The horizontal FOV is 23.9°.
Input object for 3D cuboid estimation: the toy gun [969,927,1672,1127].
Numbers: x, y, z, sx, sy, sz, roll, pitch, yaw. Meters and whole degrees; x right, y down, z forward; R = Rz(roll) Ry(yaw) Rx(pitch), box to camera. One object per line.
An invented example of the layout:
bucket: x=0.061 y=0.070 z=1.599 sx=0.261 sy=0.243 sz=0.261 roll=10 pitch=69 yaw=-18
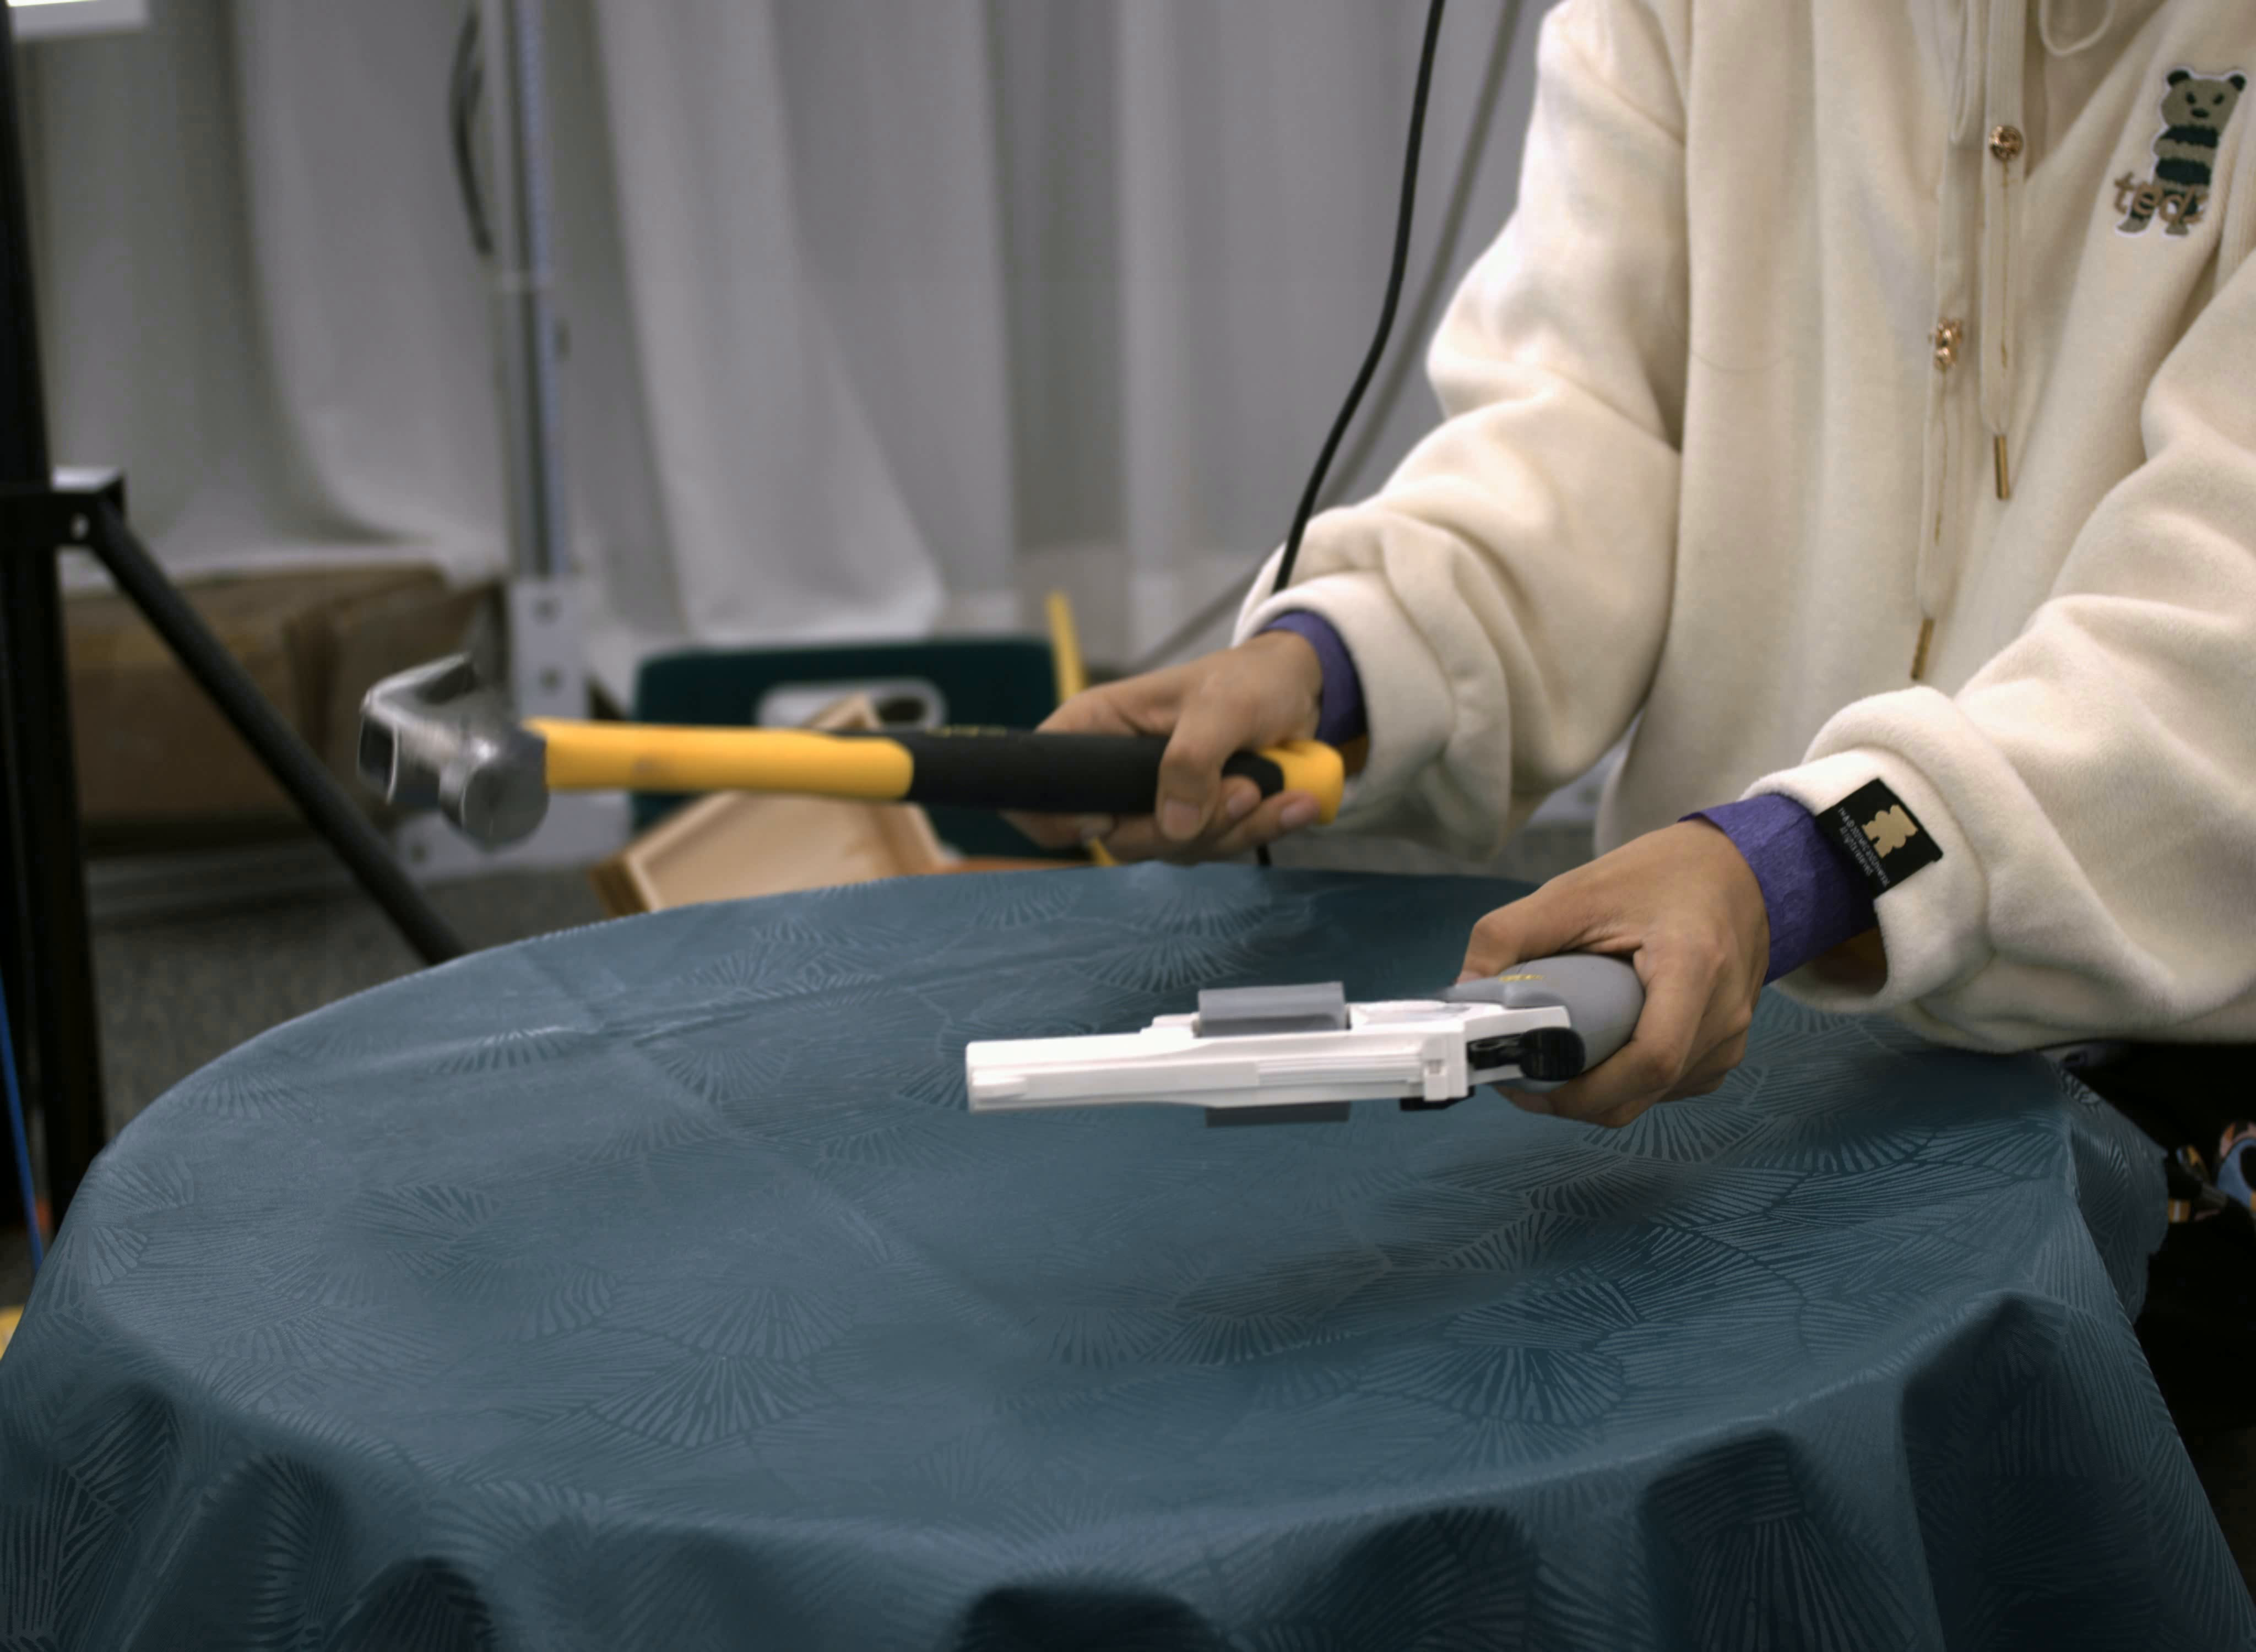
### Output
toy gun: x=0.058 y=0.057 z=1.488 sx=0.208 sy=0.039 sz=0.142 roll=-2 pitch=7 yaw=-1

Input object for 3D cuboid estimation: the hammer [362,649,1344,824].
hammer: x=-0.079 y=-0.026 z=1.675 sx=0.330 sy=0.032 sz=0.134 roll=1 pitch=10 yaw=-28
